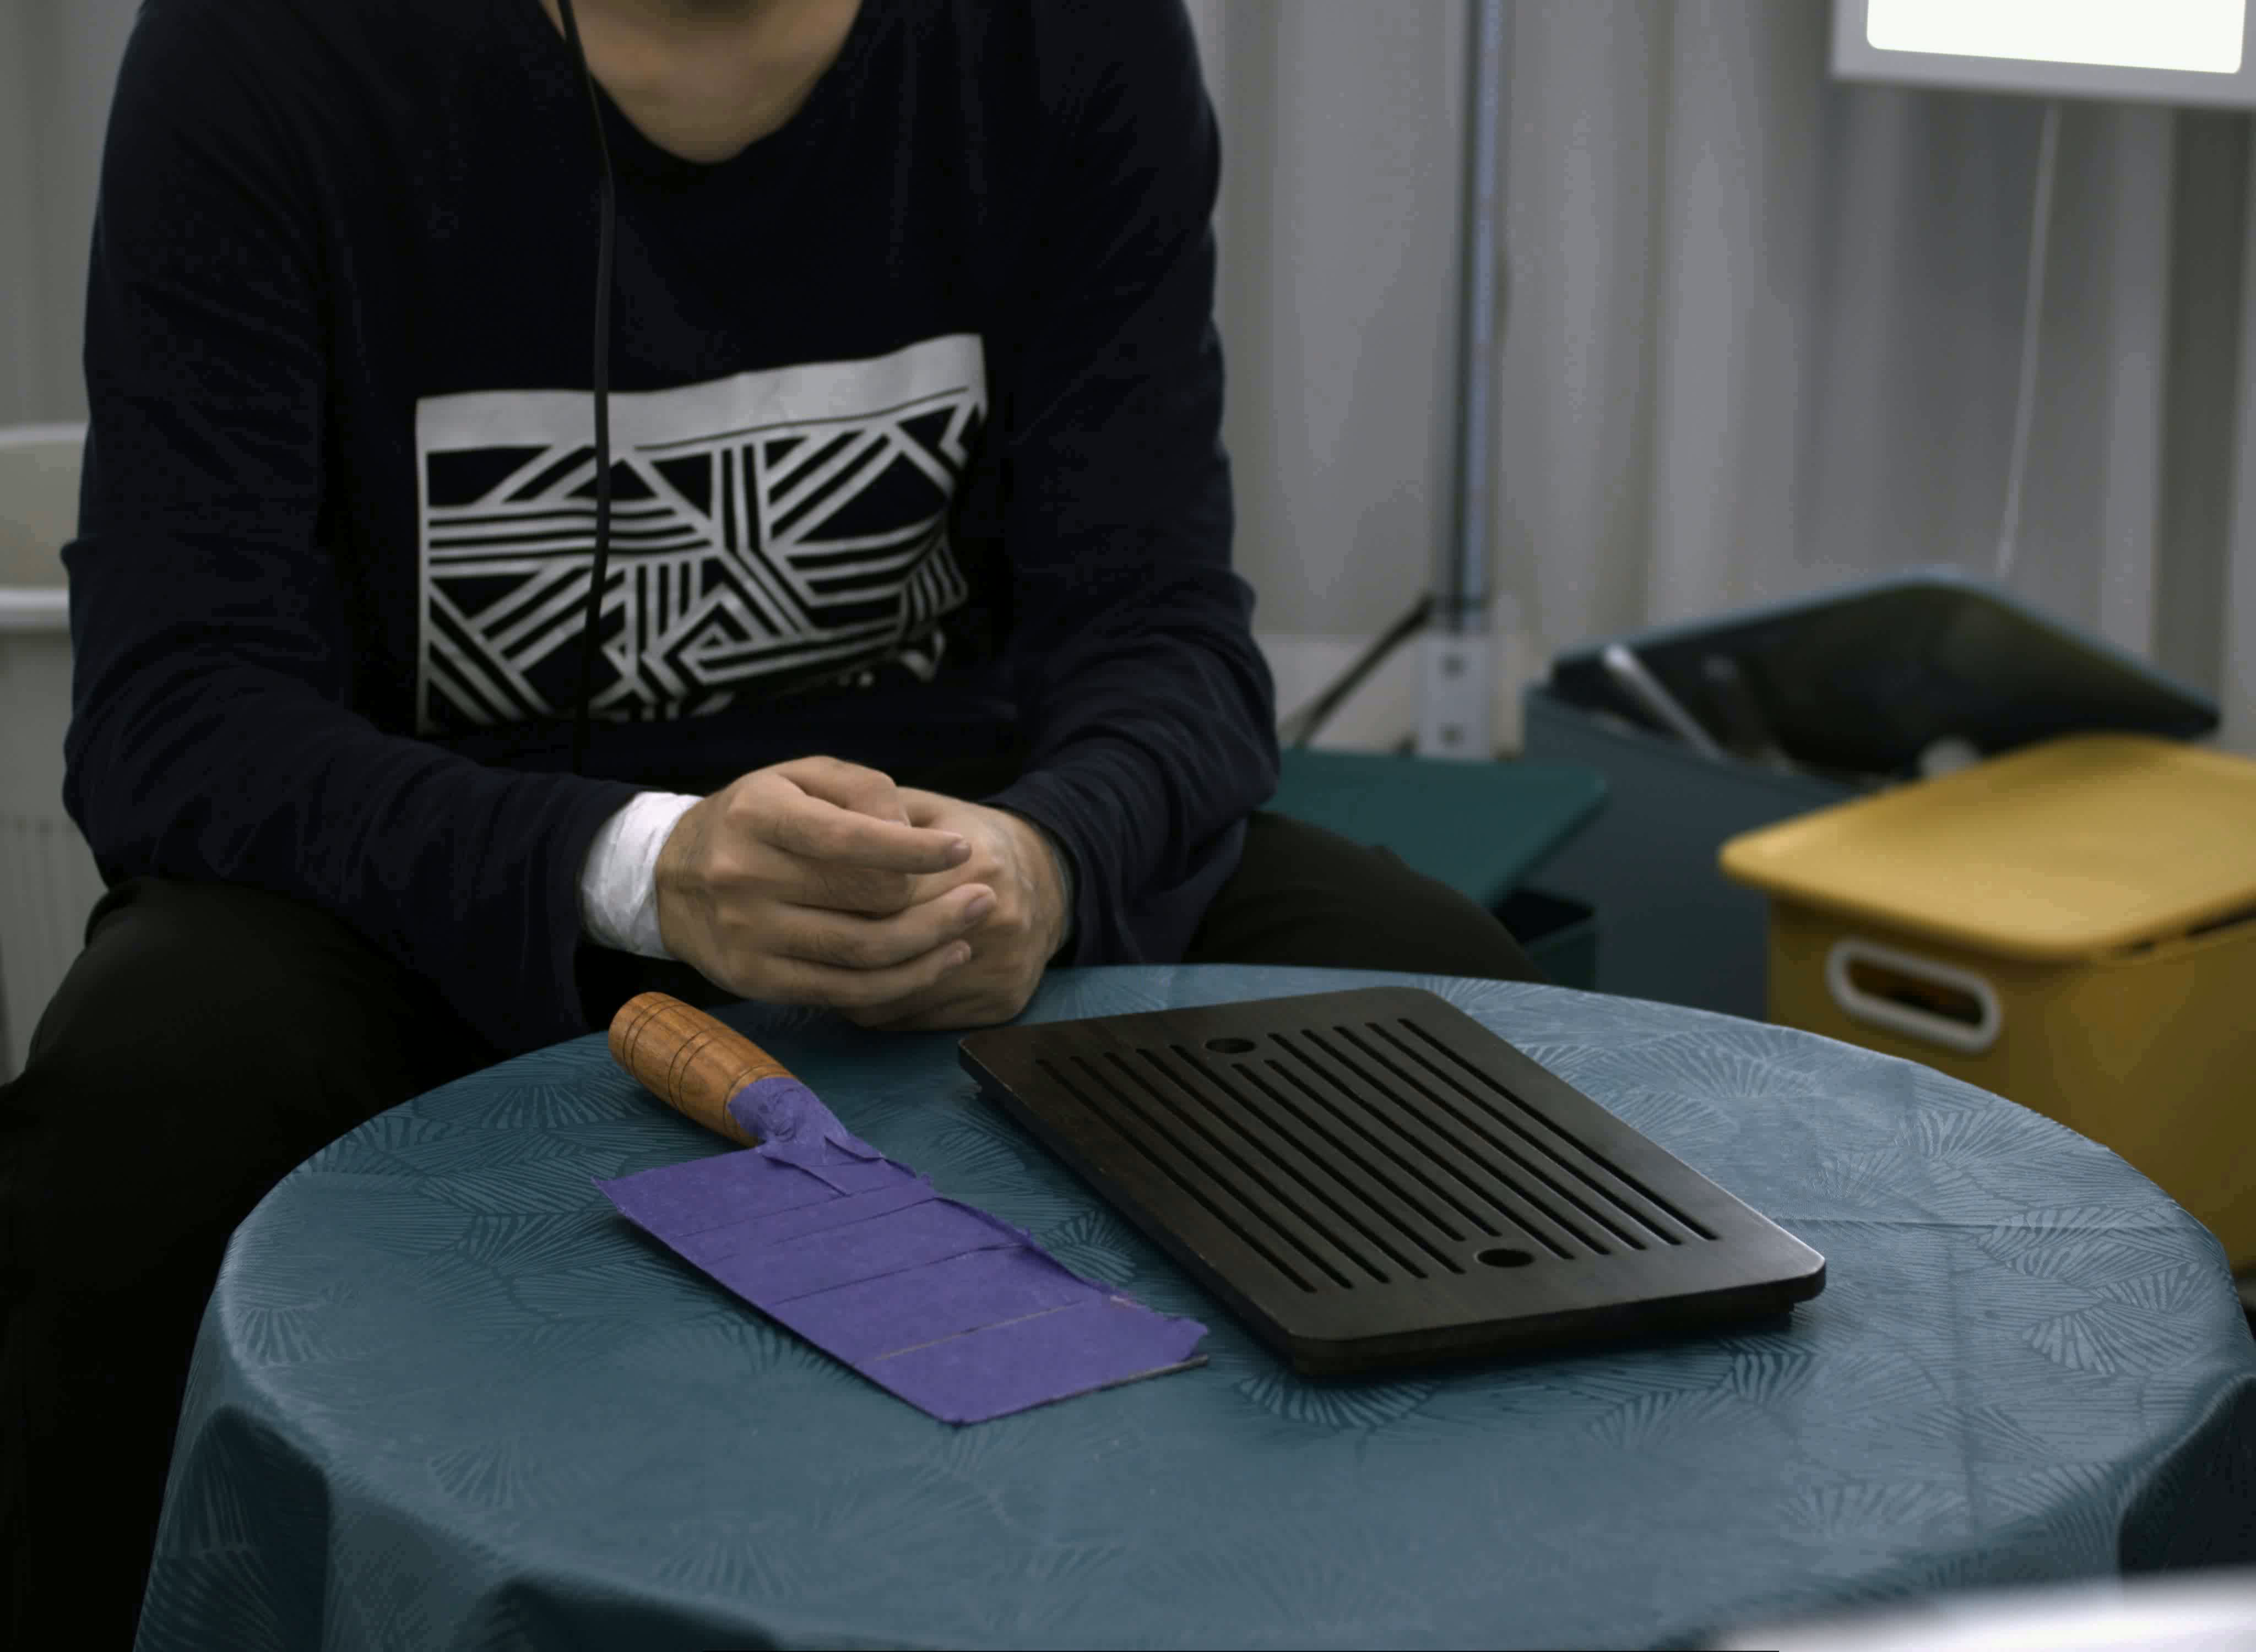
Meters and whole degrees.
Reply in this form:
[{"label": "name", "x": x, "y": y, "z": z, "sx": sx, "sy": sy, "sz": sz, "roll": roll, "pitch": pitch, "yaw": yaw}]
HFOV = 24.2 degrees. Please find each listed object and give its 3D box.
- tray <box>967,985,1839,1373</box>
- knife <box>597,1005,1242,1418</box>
[{"label": "tray", "x": 0.076, "y": 0.105, "z": 1.621, "sx": 0.170, "sy": 0.019, "sz": 0.302, "roll": -5, "pitch": 16, "yaw": -20}, {"label": "knife", "x": -0.096, "y": 0.111, "z": 1.575, "sx": 0.104, "sy": 0.032, "sz": 0.311, "roll": -10, "pitch": 19, "yaw": -34}]
